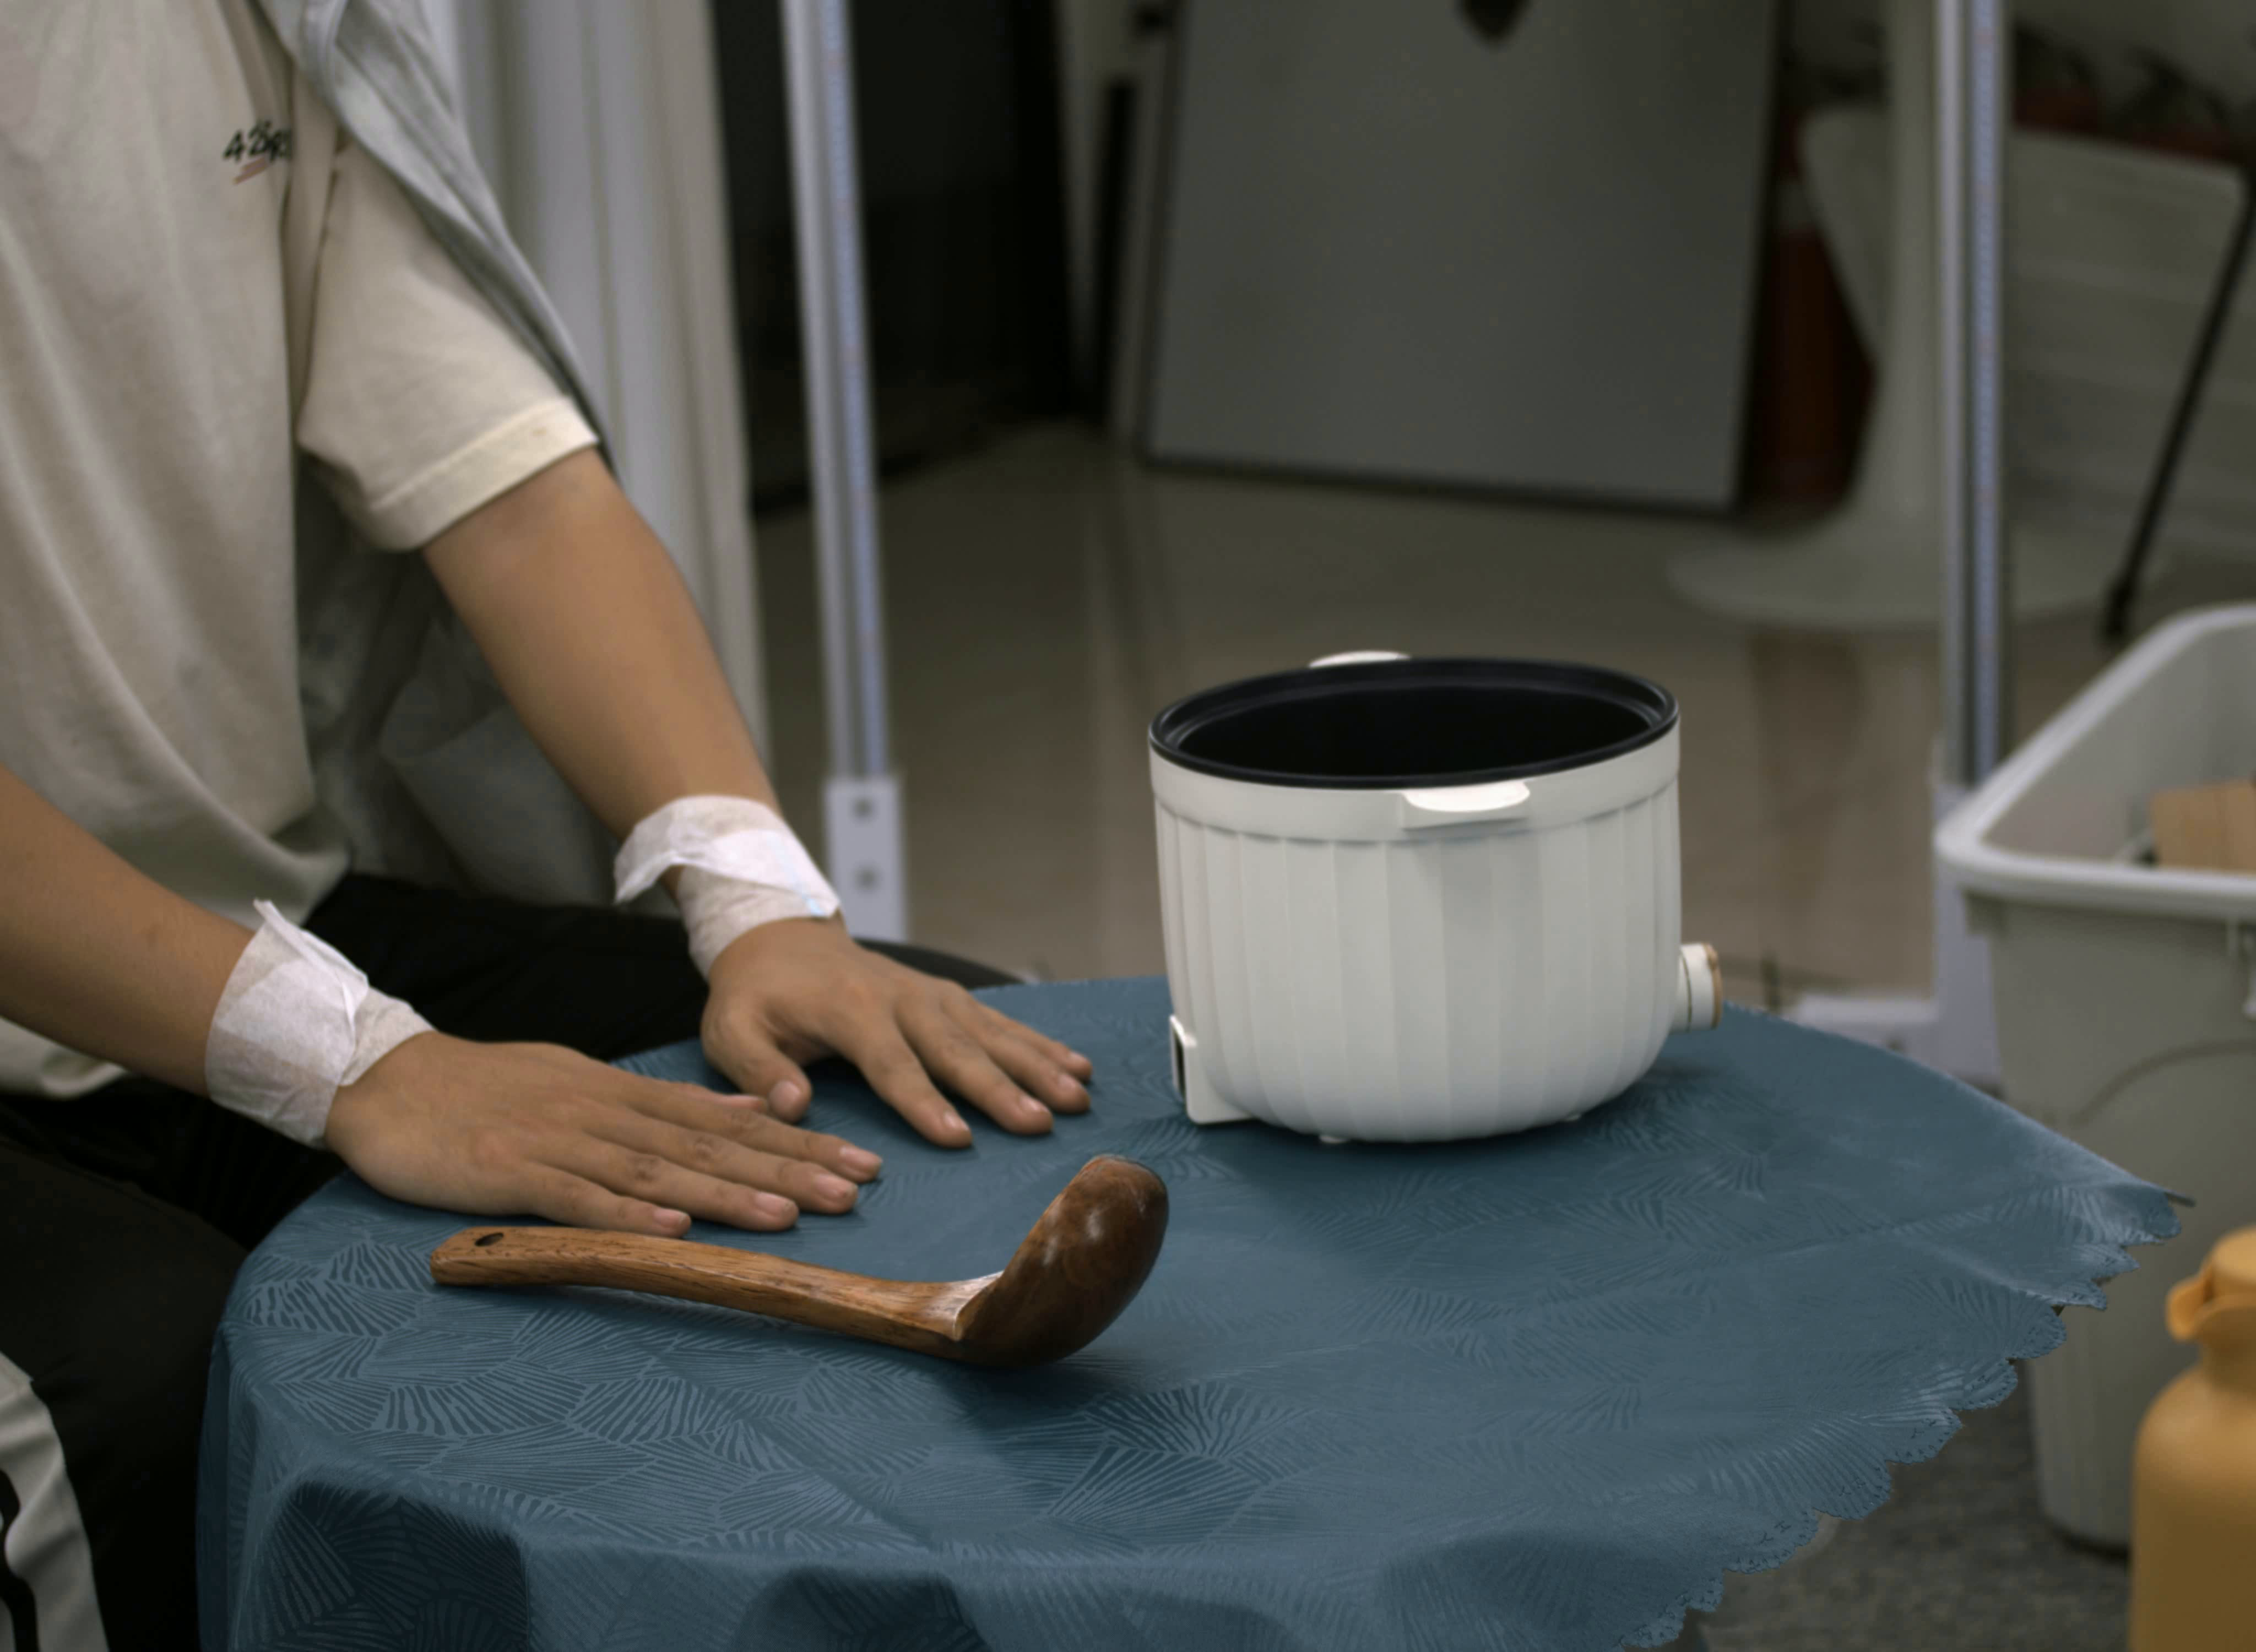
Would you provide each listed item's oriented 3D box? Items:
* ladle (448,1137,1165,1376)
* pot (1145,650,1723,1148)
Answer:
[{"bbox_3d":[-0.108,0.120,1.650,0.275,0.077,0.081,6,25,34],"label":"ladle"},{"bbox_3d":[0.106,0.025,1.841,0.187,0.144,0.241,-9,15,-5],"label":"pot"}]
